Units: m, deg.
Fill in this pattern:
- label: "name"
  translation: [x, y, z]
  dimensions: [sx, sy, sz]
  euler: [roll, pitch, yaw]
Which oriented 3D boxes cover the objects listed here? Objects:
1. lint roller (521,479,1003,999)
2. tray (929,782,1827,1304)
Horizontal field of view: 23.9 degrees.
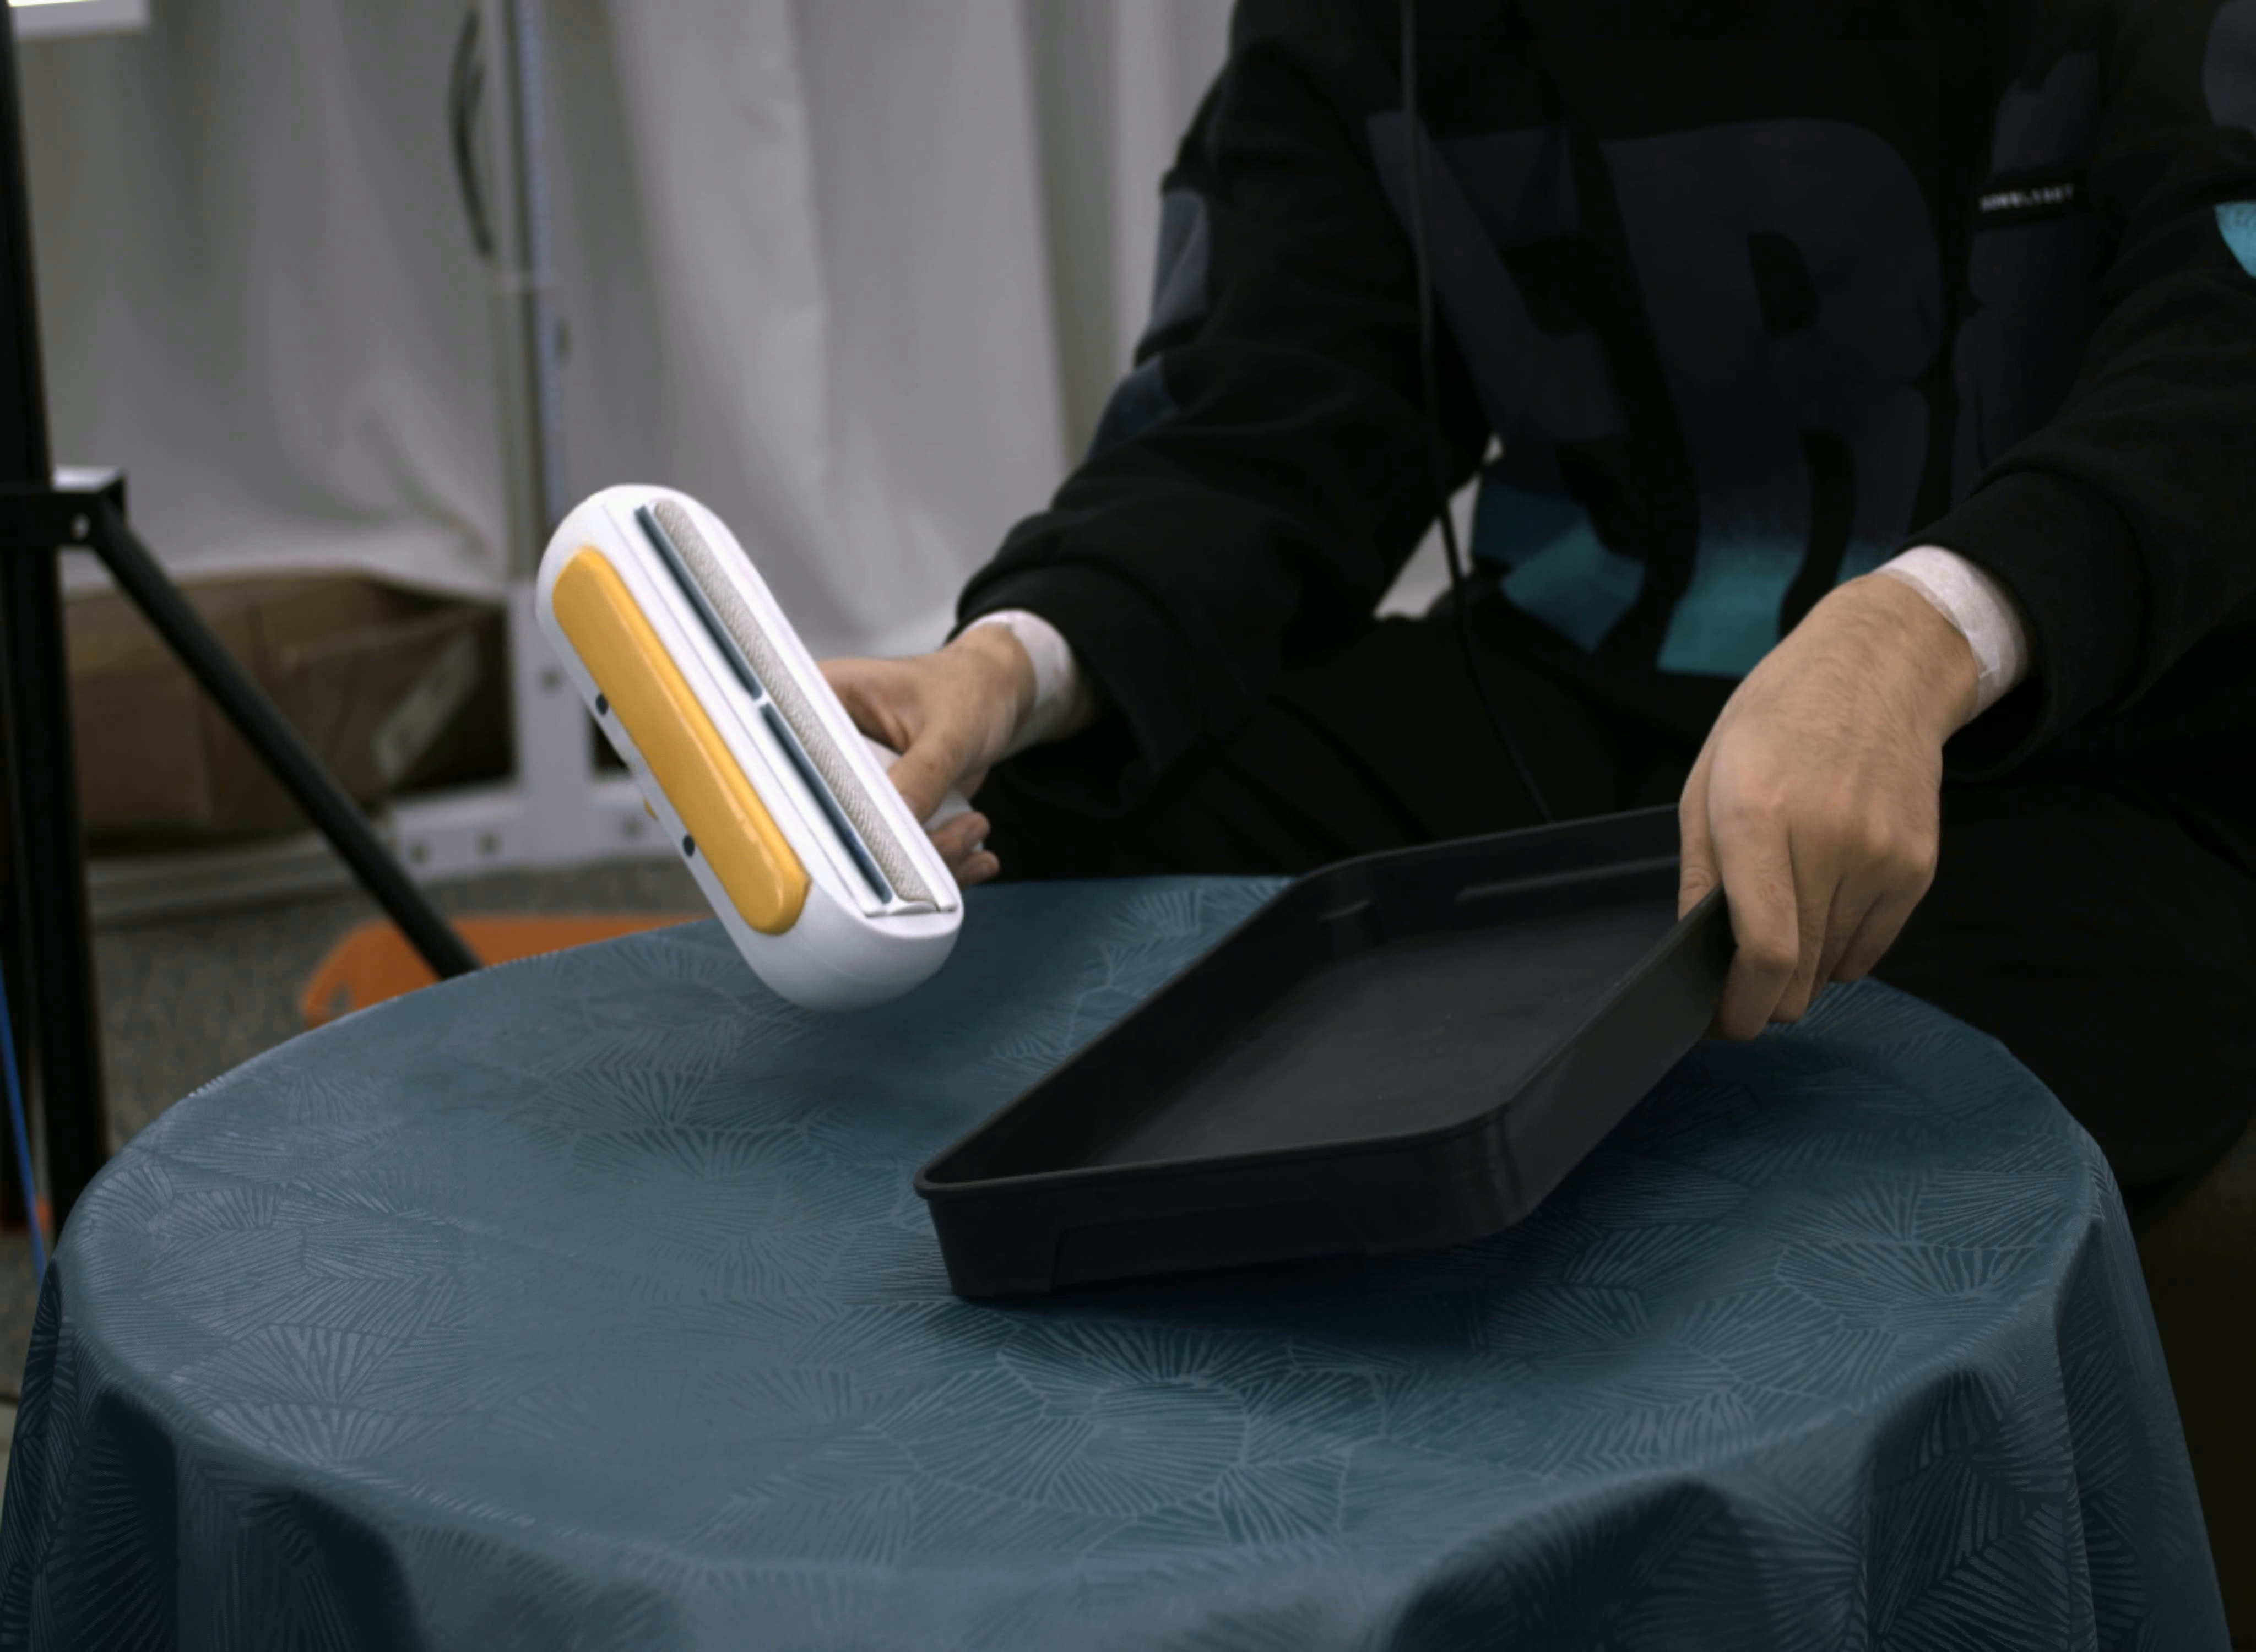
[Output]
- label: "lint roller"
  translation: [-0.096, -0.017, 1.724]
  dimensions: [0.187, 0.074, 0.196]
  euler: [11, 36, -52]
- label: "tray"
  translation: [0.083, 0.061, 1.569]
  dimensions: [0.187, 0.037, 0.314]
  euler: [-10, 13, 27]
